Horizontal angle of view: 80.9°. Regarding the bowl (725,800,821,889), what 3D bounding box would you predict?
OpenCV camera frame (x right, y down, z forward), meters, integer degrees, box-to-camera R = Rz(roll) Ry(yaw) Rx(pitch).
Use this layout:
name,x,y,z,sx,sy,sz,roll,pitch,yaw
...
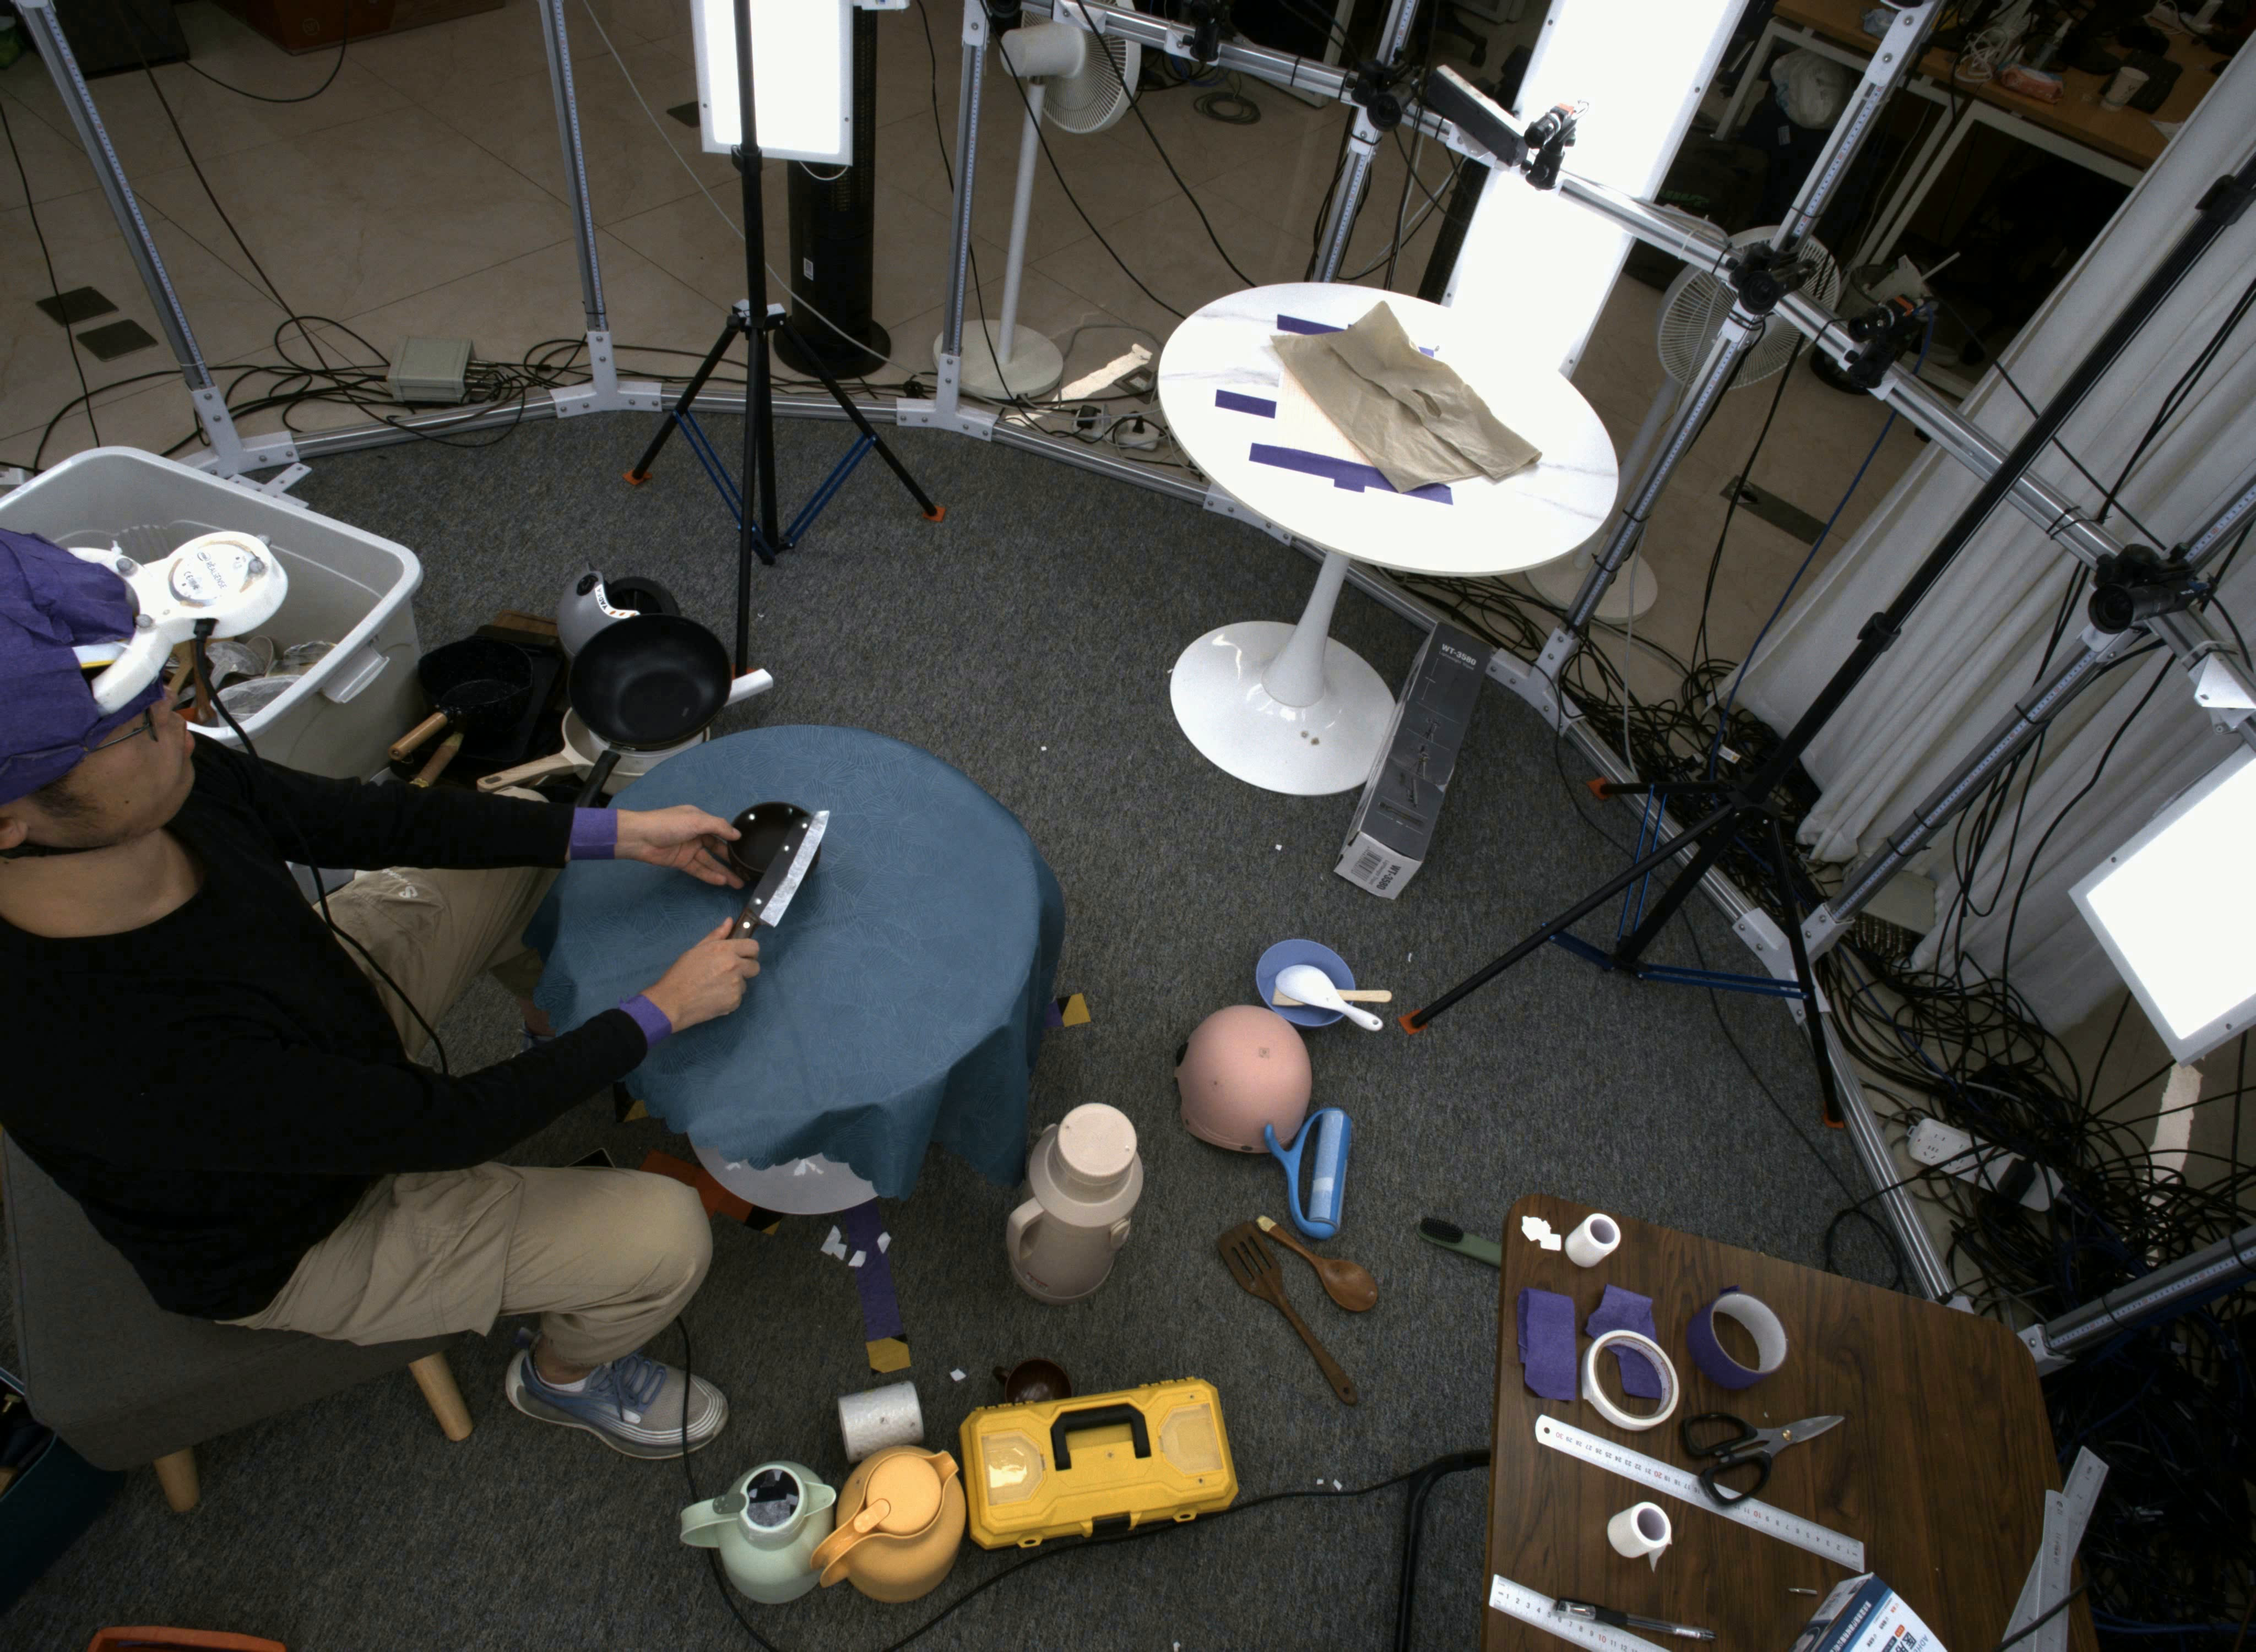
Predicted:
name,x,y,z,sx,sy,sz,roll,pitch,yaw
bowl,-0.449,0.032,1.644,0.117,0.071,0.116,6,53,-7

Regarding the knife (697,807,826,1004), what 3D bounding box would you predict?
name,x,y,z,sx,sy,sz,roll,pitch,yaw
knife,-0.439,0.090,1.564,0.051,0.020,0.287,37,60,-20
